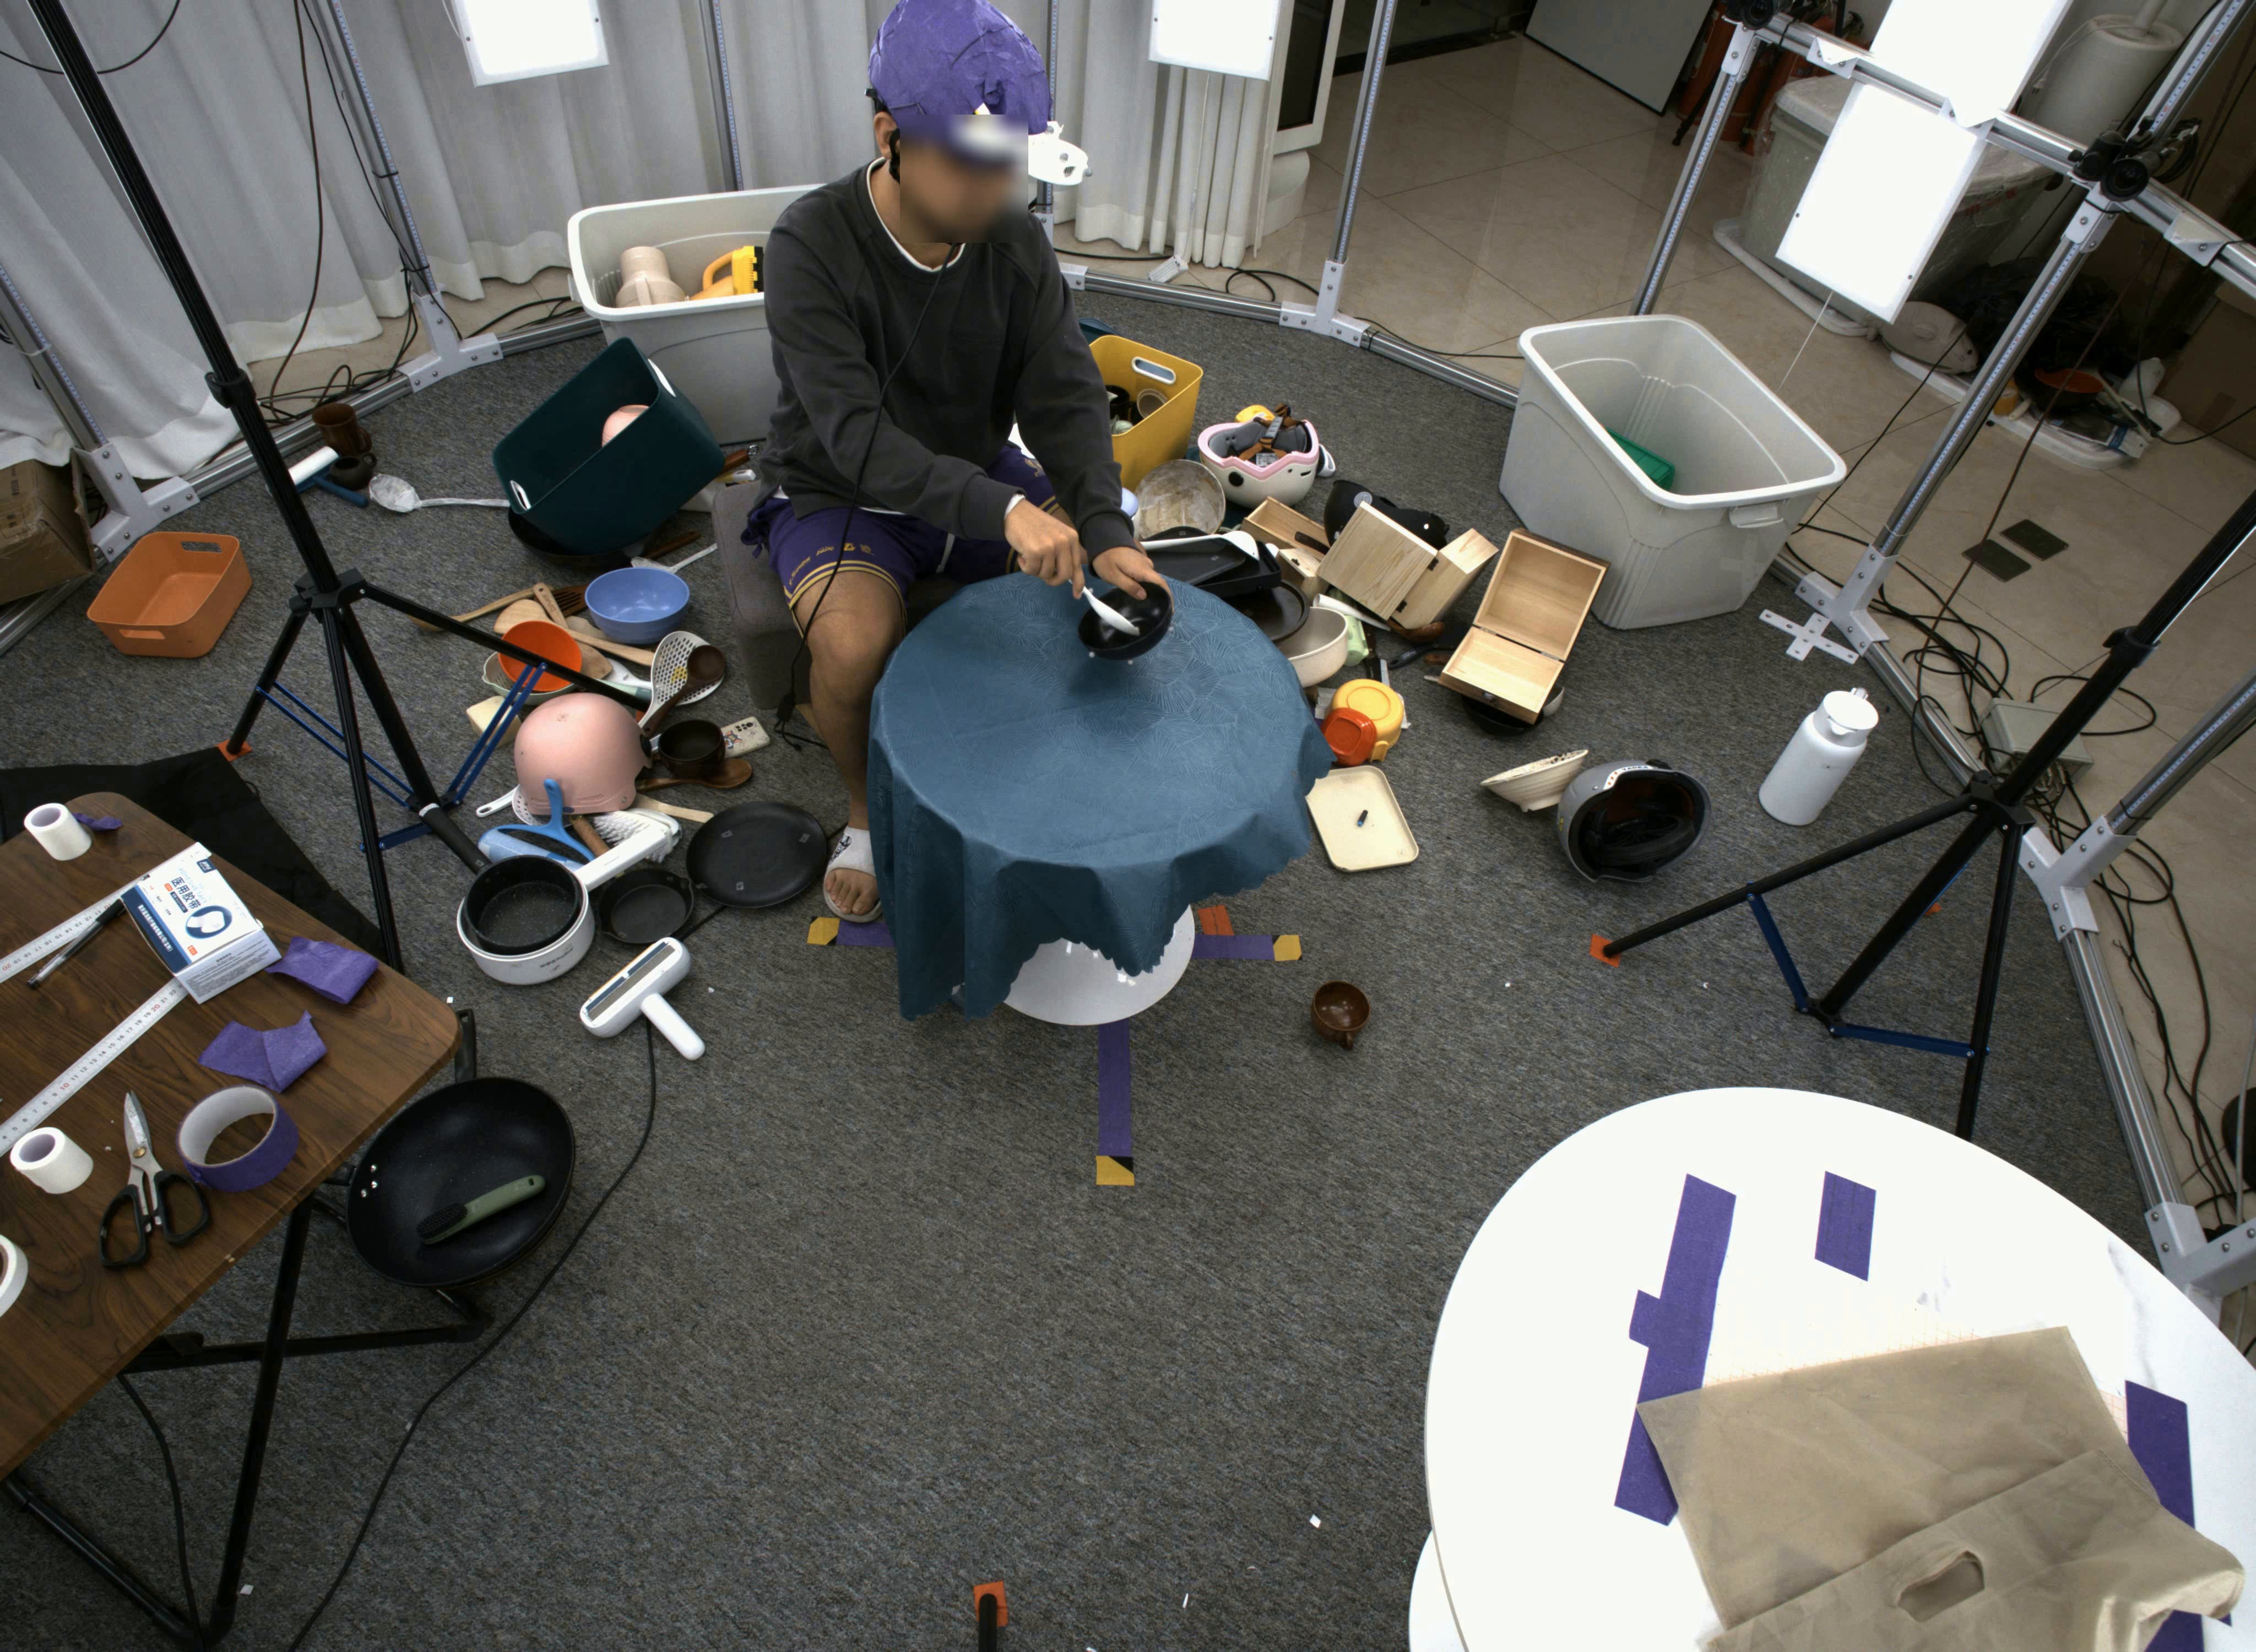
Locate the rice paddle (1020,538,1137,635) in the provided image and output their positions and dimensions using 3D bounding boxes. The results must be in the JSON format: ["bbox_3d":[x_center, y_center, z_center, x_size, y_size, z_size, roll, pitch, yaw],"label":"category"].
[{"bbox_3d":[-0.061,-0.321,1.758,0.029,0.202,0.070,-55,30,2],"label":"rice paddle"}]

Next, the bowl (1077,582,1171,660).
[{"bbox_3d":[0.001,-0.278,1.798,0.140,0.048,0.143,-16,43,15],"label":"bowl"}]
